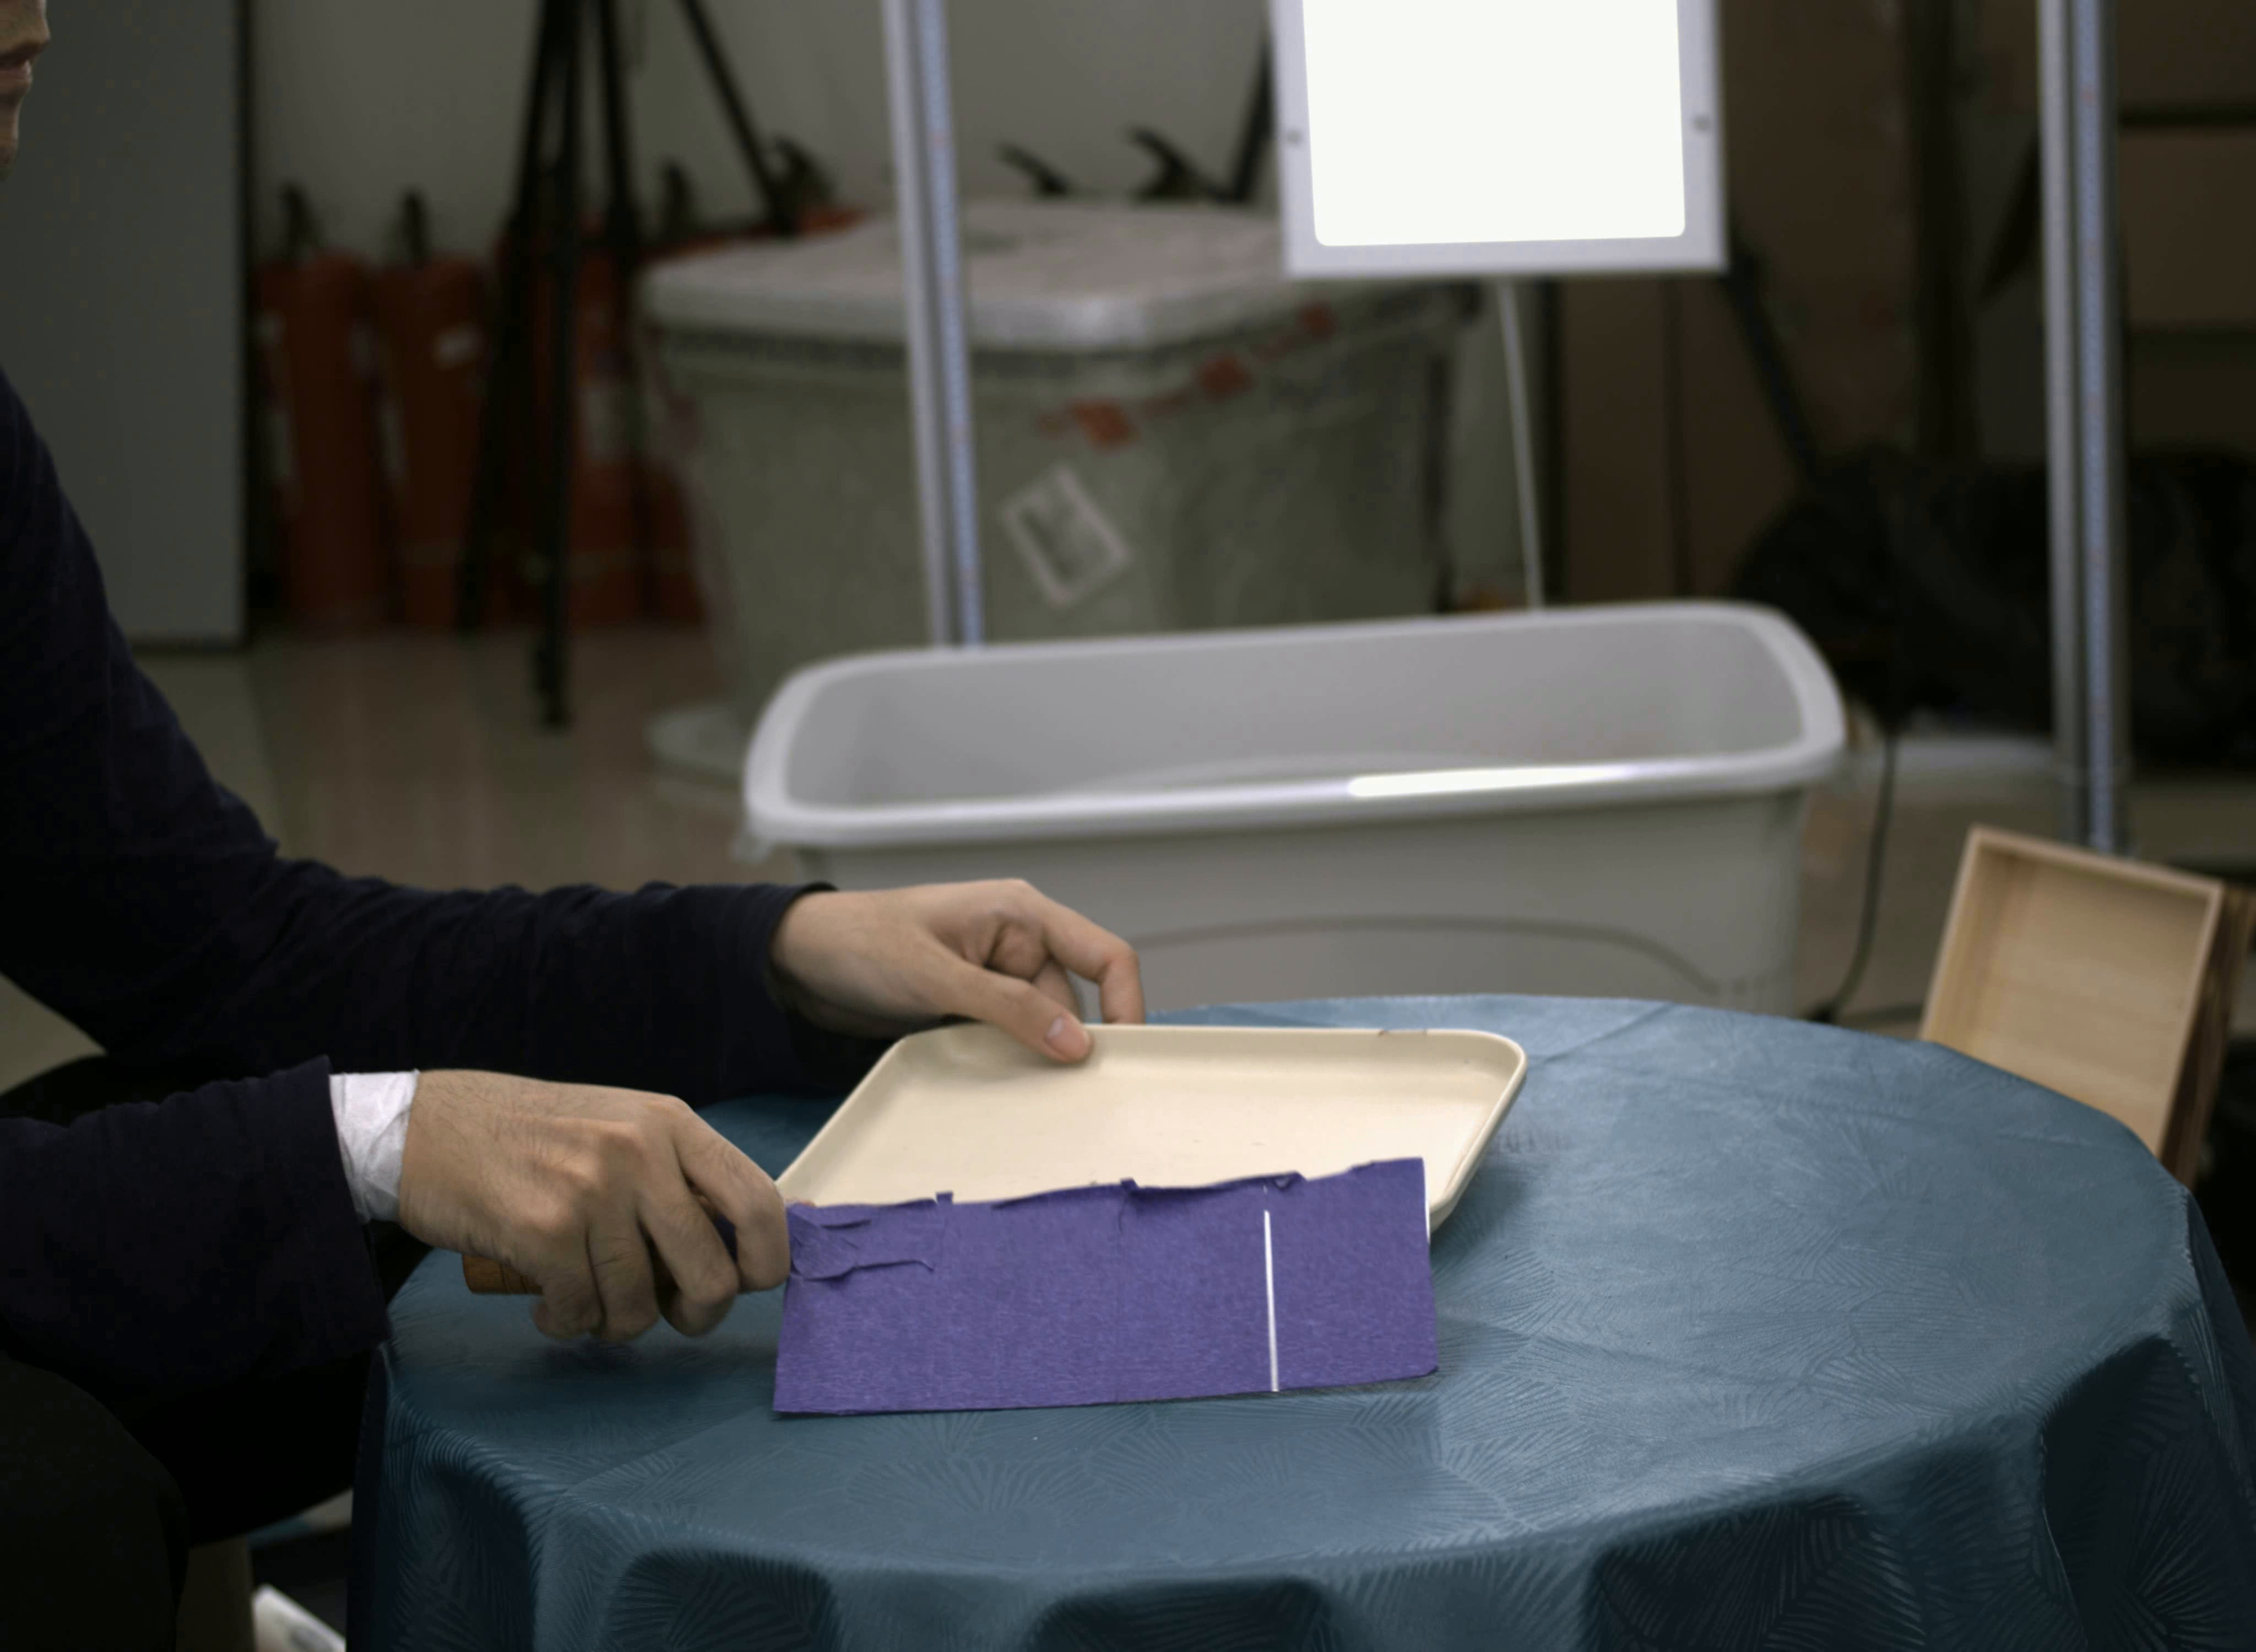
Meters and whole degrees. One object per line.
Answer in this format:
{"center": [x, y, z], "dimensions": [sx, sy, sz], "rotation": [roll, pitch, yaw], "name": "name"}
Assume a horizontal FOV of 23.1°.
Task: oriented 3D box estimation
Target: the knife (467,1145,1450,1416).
{"center": [-0.056, 0.146, 1.733], "dimensions": [0.316, 0.032, 0.103], "rotation": [-6, 38, 8], "name": "knife"}

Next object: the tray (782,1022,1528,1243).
{"center": [0.011, 0.109, 1.904], "dimensions": [0.243, 0.017, 0.168], "rotation": [0, 21, 20], "name": "tray"}
